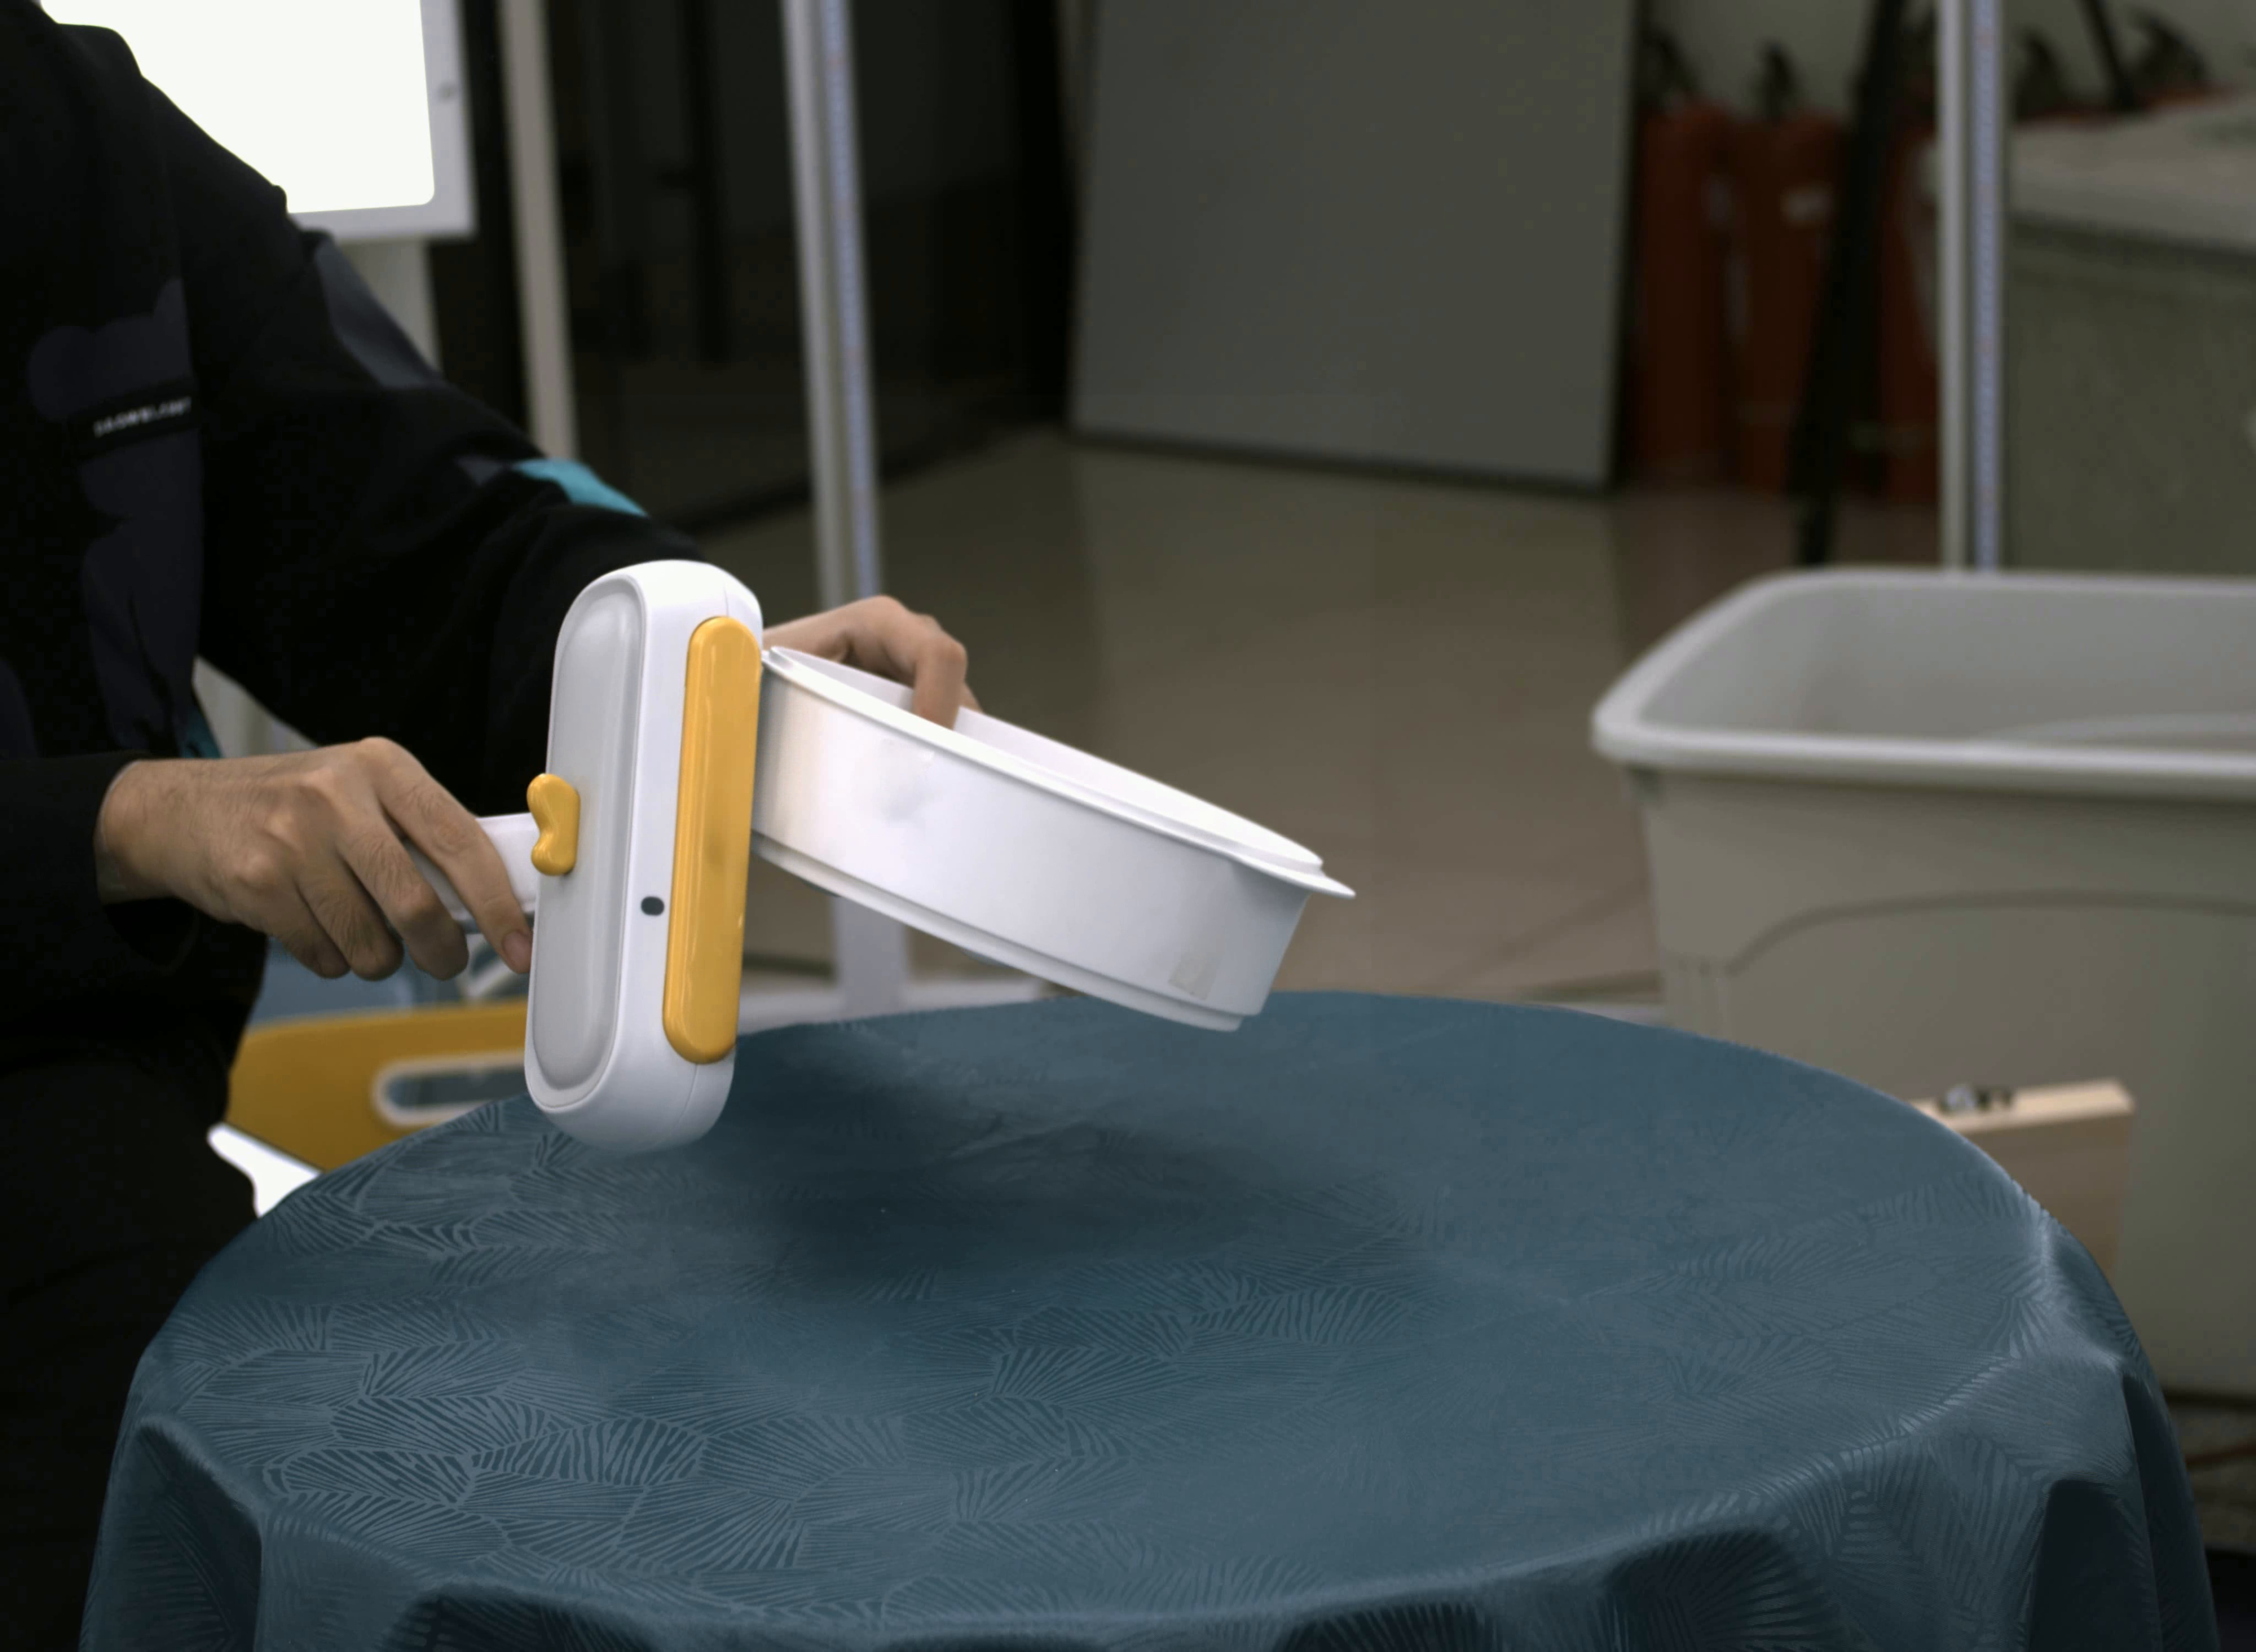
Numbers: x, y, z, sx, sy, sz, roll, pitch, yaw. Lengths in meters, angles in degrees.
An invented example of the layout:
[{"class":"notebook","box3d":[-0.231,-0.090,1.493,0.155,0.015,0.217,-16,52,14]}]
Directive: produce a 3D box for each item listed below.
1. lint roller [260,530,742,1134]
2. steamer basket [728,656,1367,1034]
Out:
[{"class":"lint roller","box3d":[-0.200,0.013,1.753,0.194,0.195,0.072,-17,-20,41]},{"class":"steamer basket","box3d":[-0.035,0.009,1.765,0.231,0.070,0.199,20,1,27]}]
